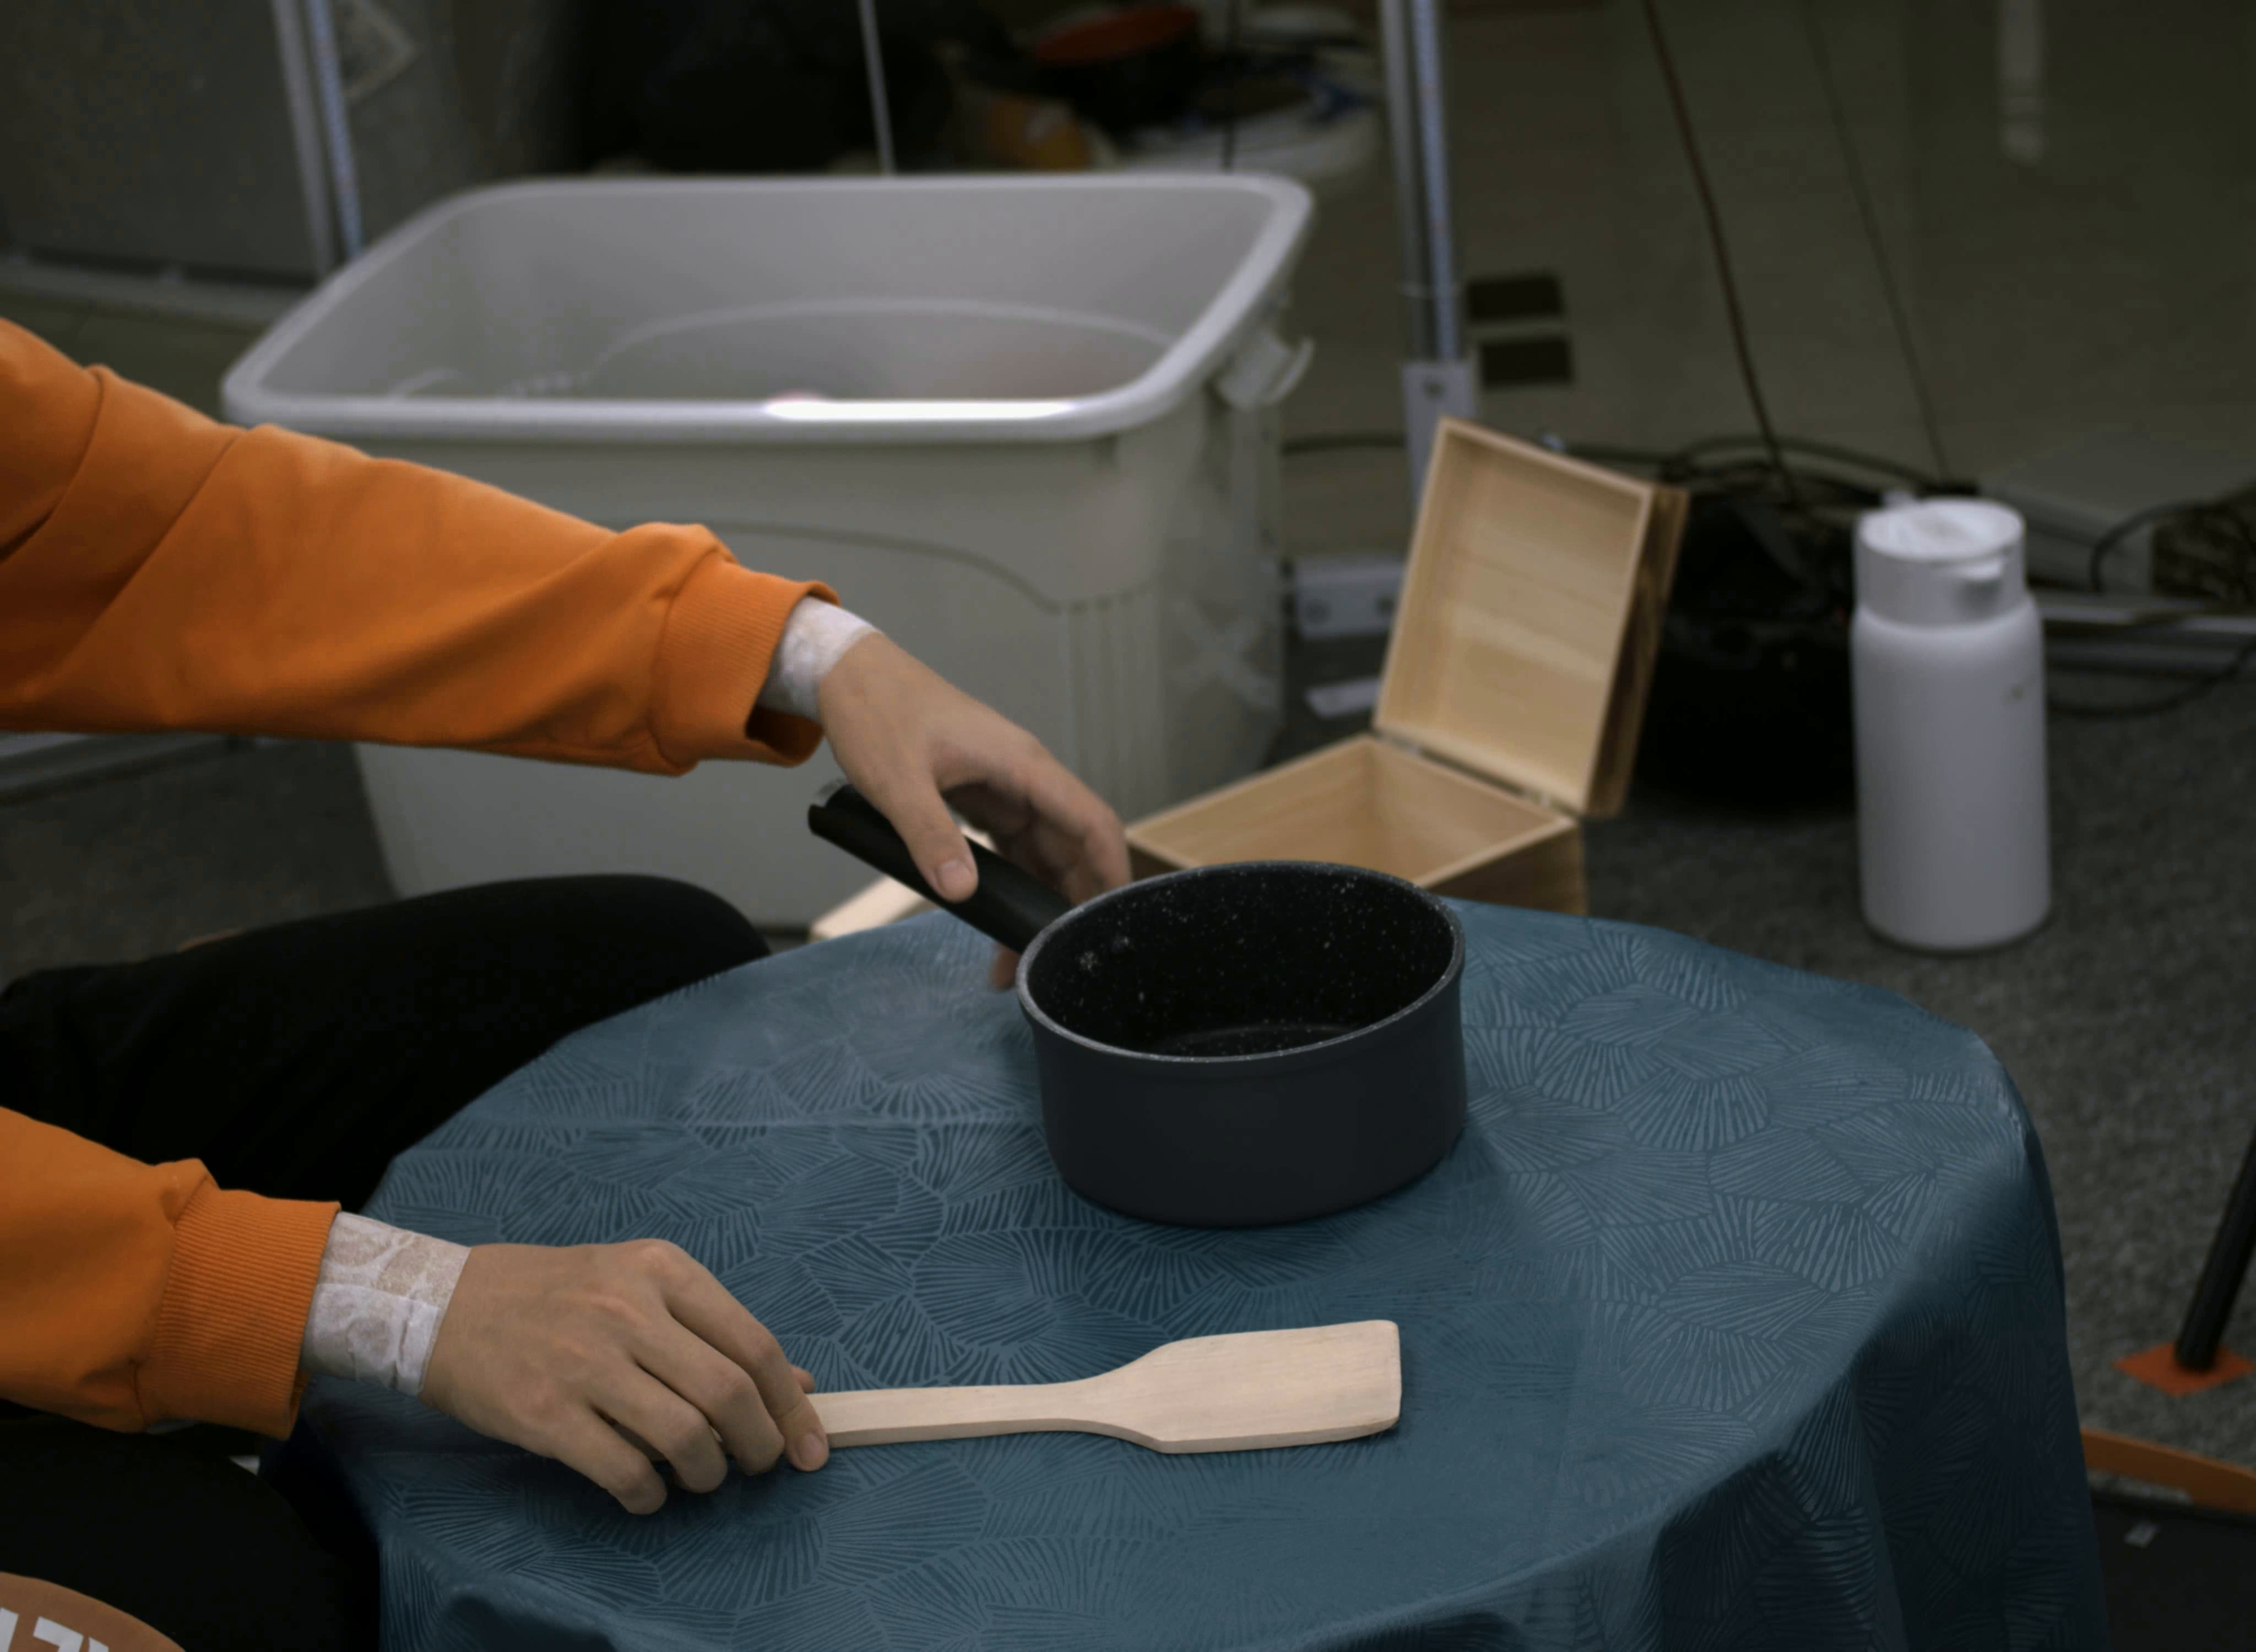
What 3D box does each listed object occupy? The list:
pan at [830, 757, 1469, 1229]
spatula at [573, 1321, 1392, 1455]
[{"bbox_3d":[-0.006,0.059,2.218,0.171,0.088,0.325,-24,32,-34],"label":"pan"},{"bbox_3d":[-0.052,0.206,2.006,0.292,0.011,0.071,-4,29,5],"label":"spatula"}]
